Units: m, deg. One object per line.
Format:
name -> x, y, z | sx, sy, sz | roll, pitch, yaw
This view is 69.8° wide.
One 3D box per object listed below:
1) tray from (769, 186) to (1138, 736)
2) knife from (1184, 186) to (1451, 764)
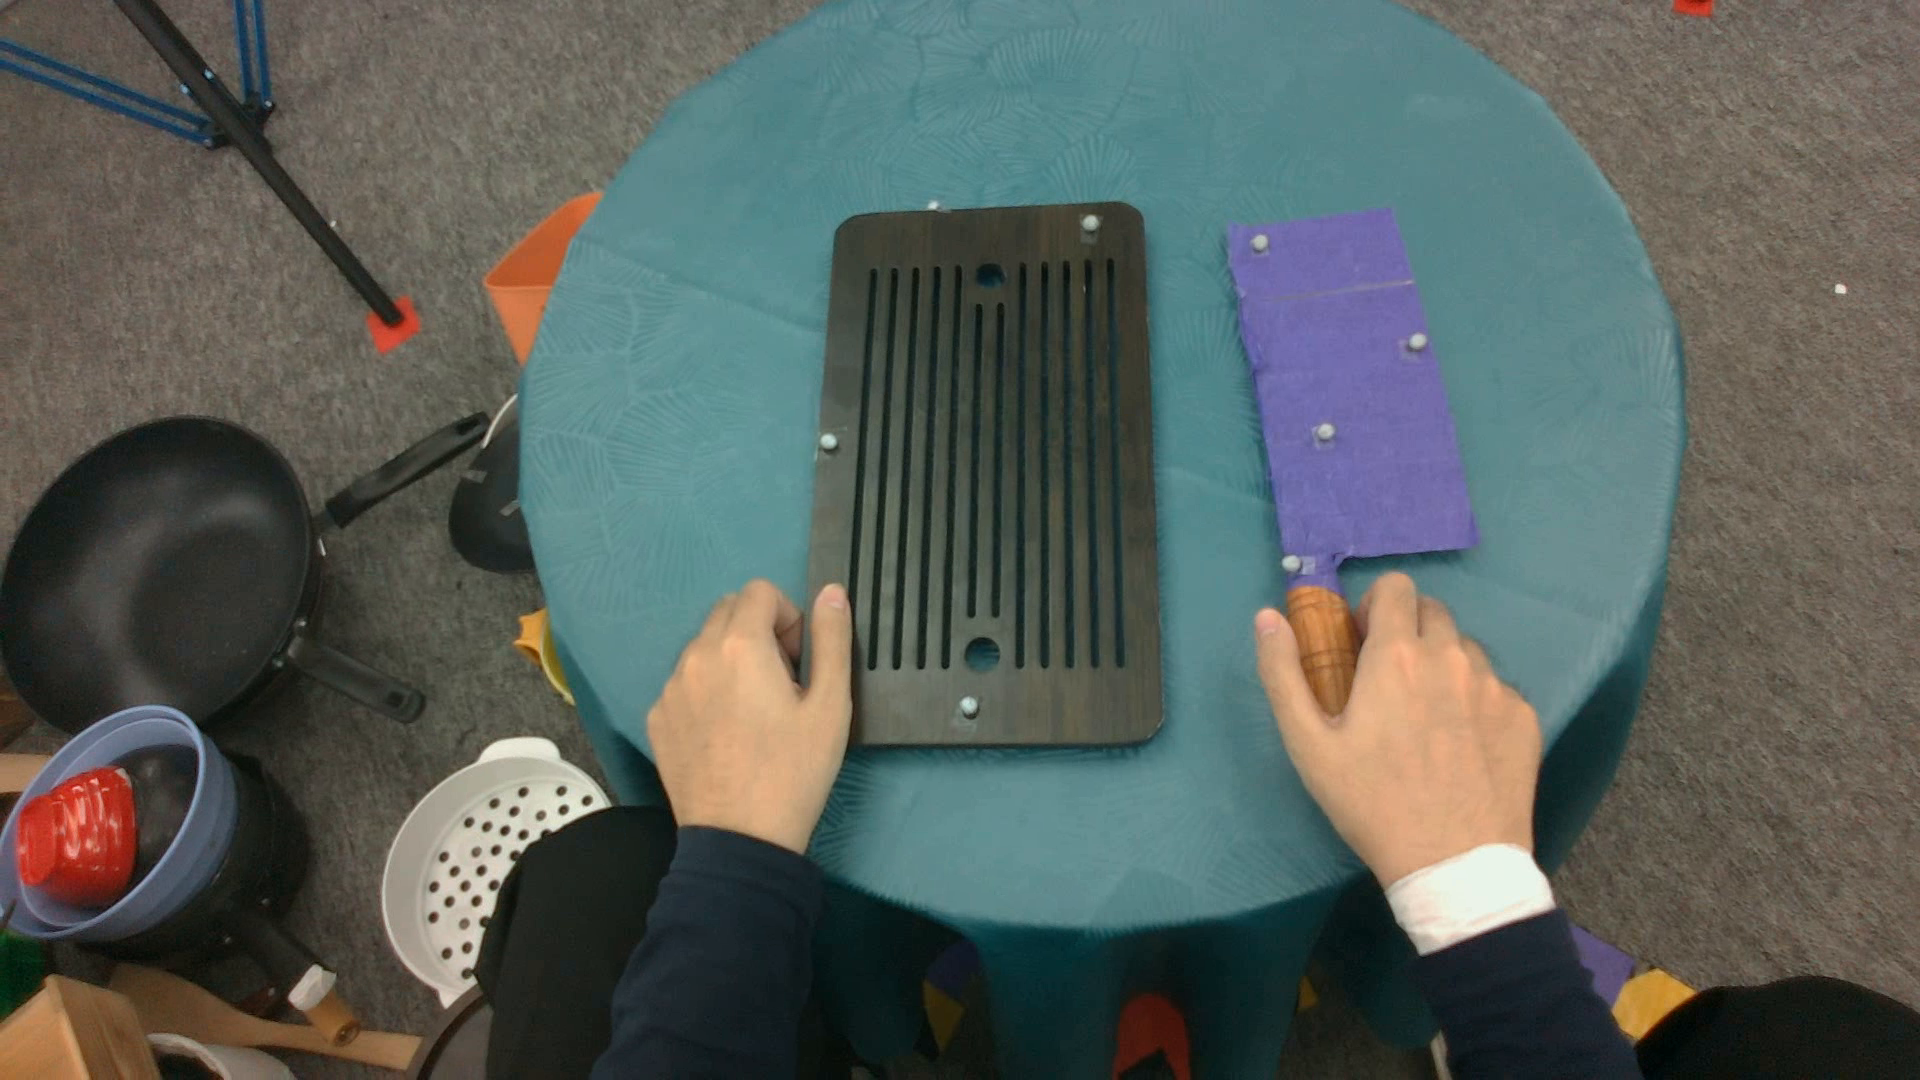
tray -> -0.001, -0.049, 0.692 | 0.170, 0.018, 0.307 | -2, 64, 5
knife -> 0.183, -0.050, 0.668 | 0.104, 0.032, 0.316 | -6, 63, 3
